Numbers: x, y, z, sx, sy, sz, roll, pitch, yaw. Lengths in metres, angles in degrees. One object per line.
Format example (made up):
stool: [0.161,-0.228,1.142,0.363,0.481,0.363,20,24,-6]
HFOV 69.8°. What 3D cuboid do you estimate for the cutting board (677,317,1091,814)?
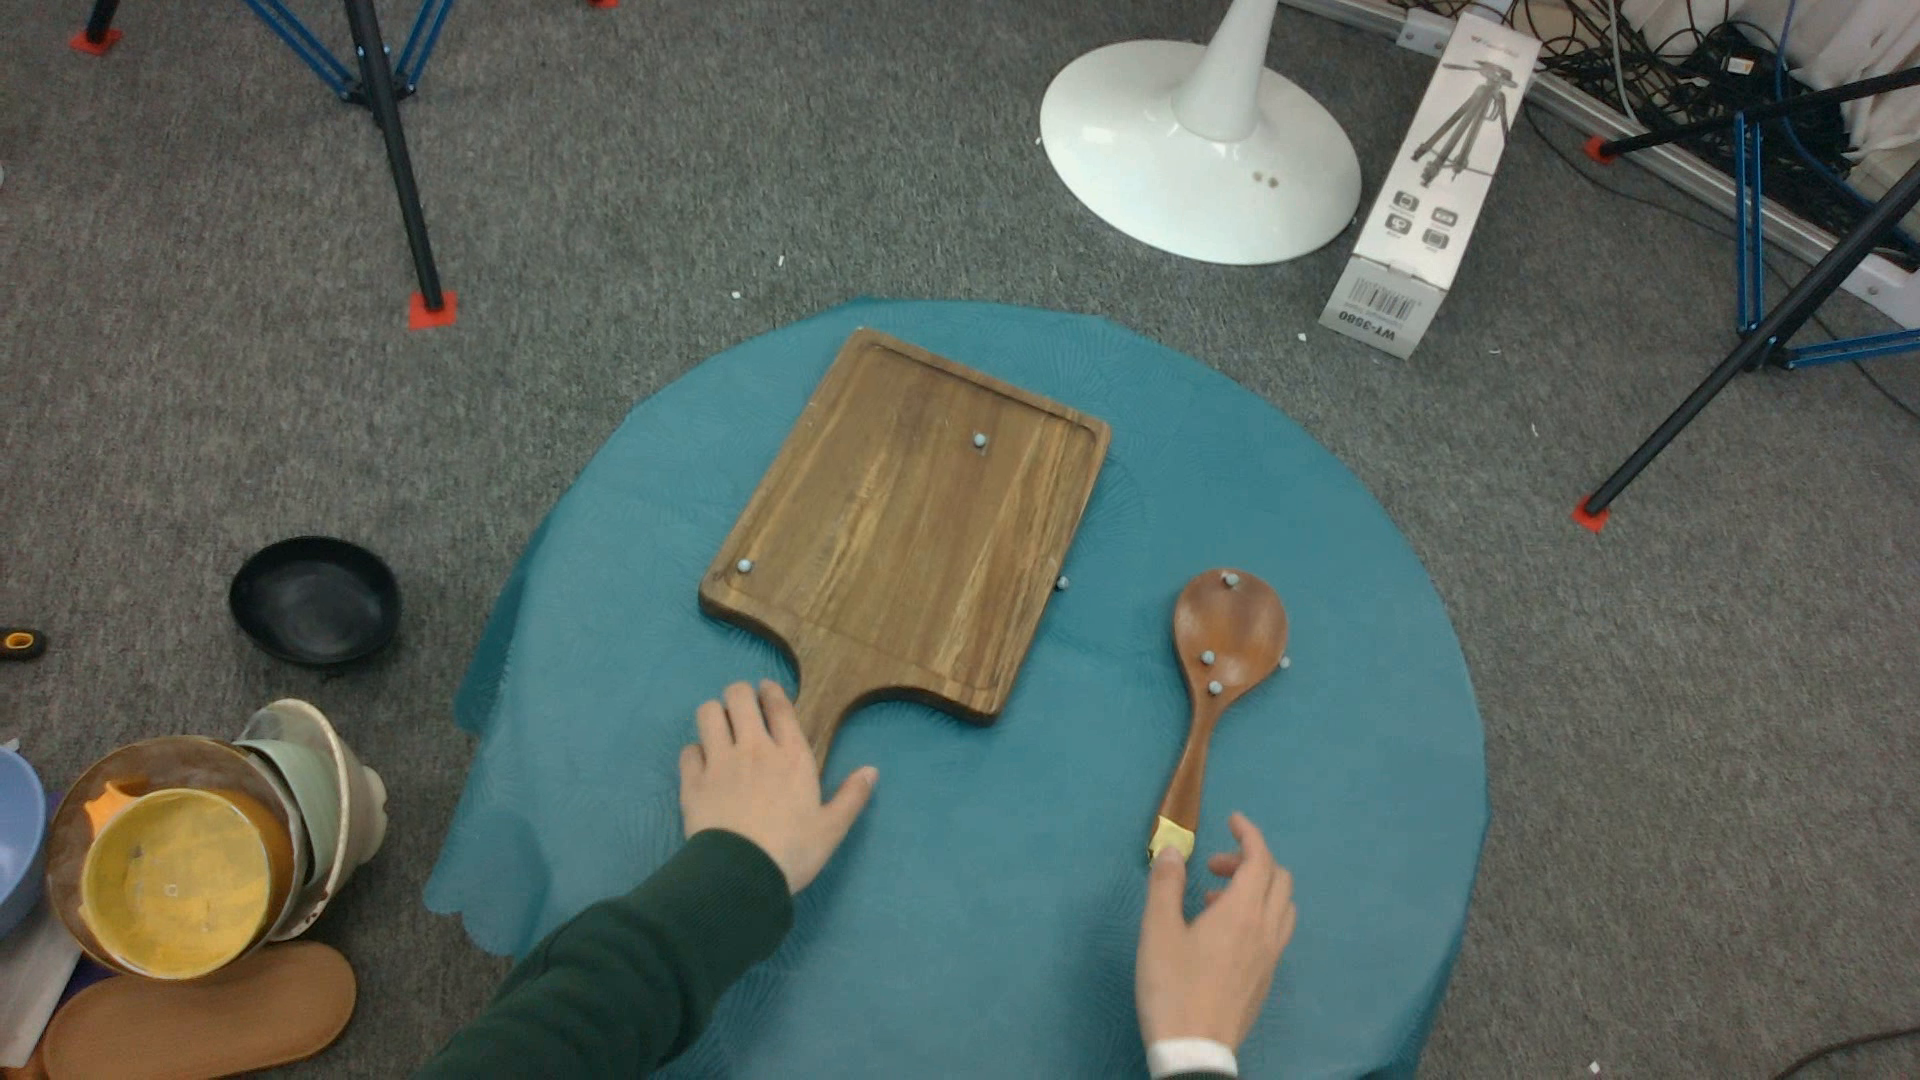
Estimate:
cutting board: [-0.055,0.013,0.853,0.201,0.023,0.354,23,54,2]

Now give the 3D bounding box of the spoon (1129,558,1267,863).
spoon: [0.138,0.099,0.836,0.075,0.017,0.217,22,53,1]
